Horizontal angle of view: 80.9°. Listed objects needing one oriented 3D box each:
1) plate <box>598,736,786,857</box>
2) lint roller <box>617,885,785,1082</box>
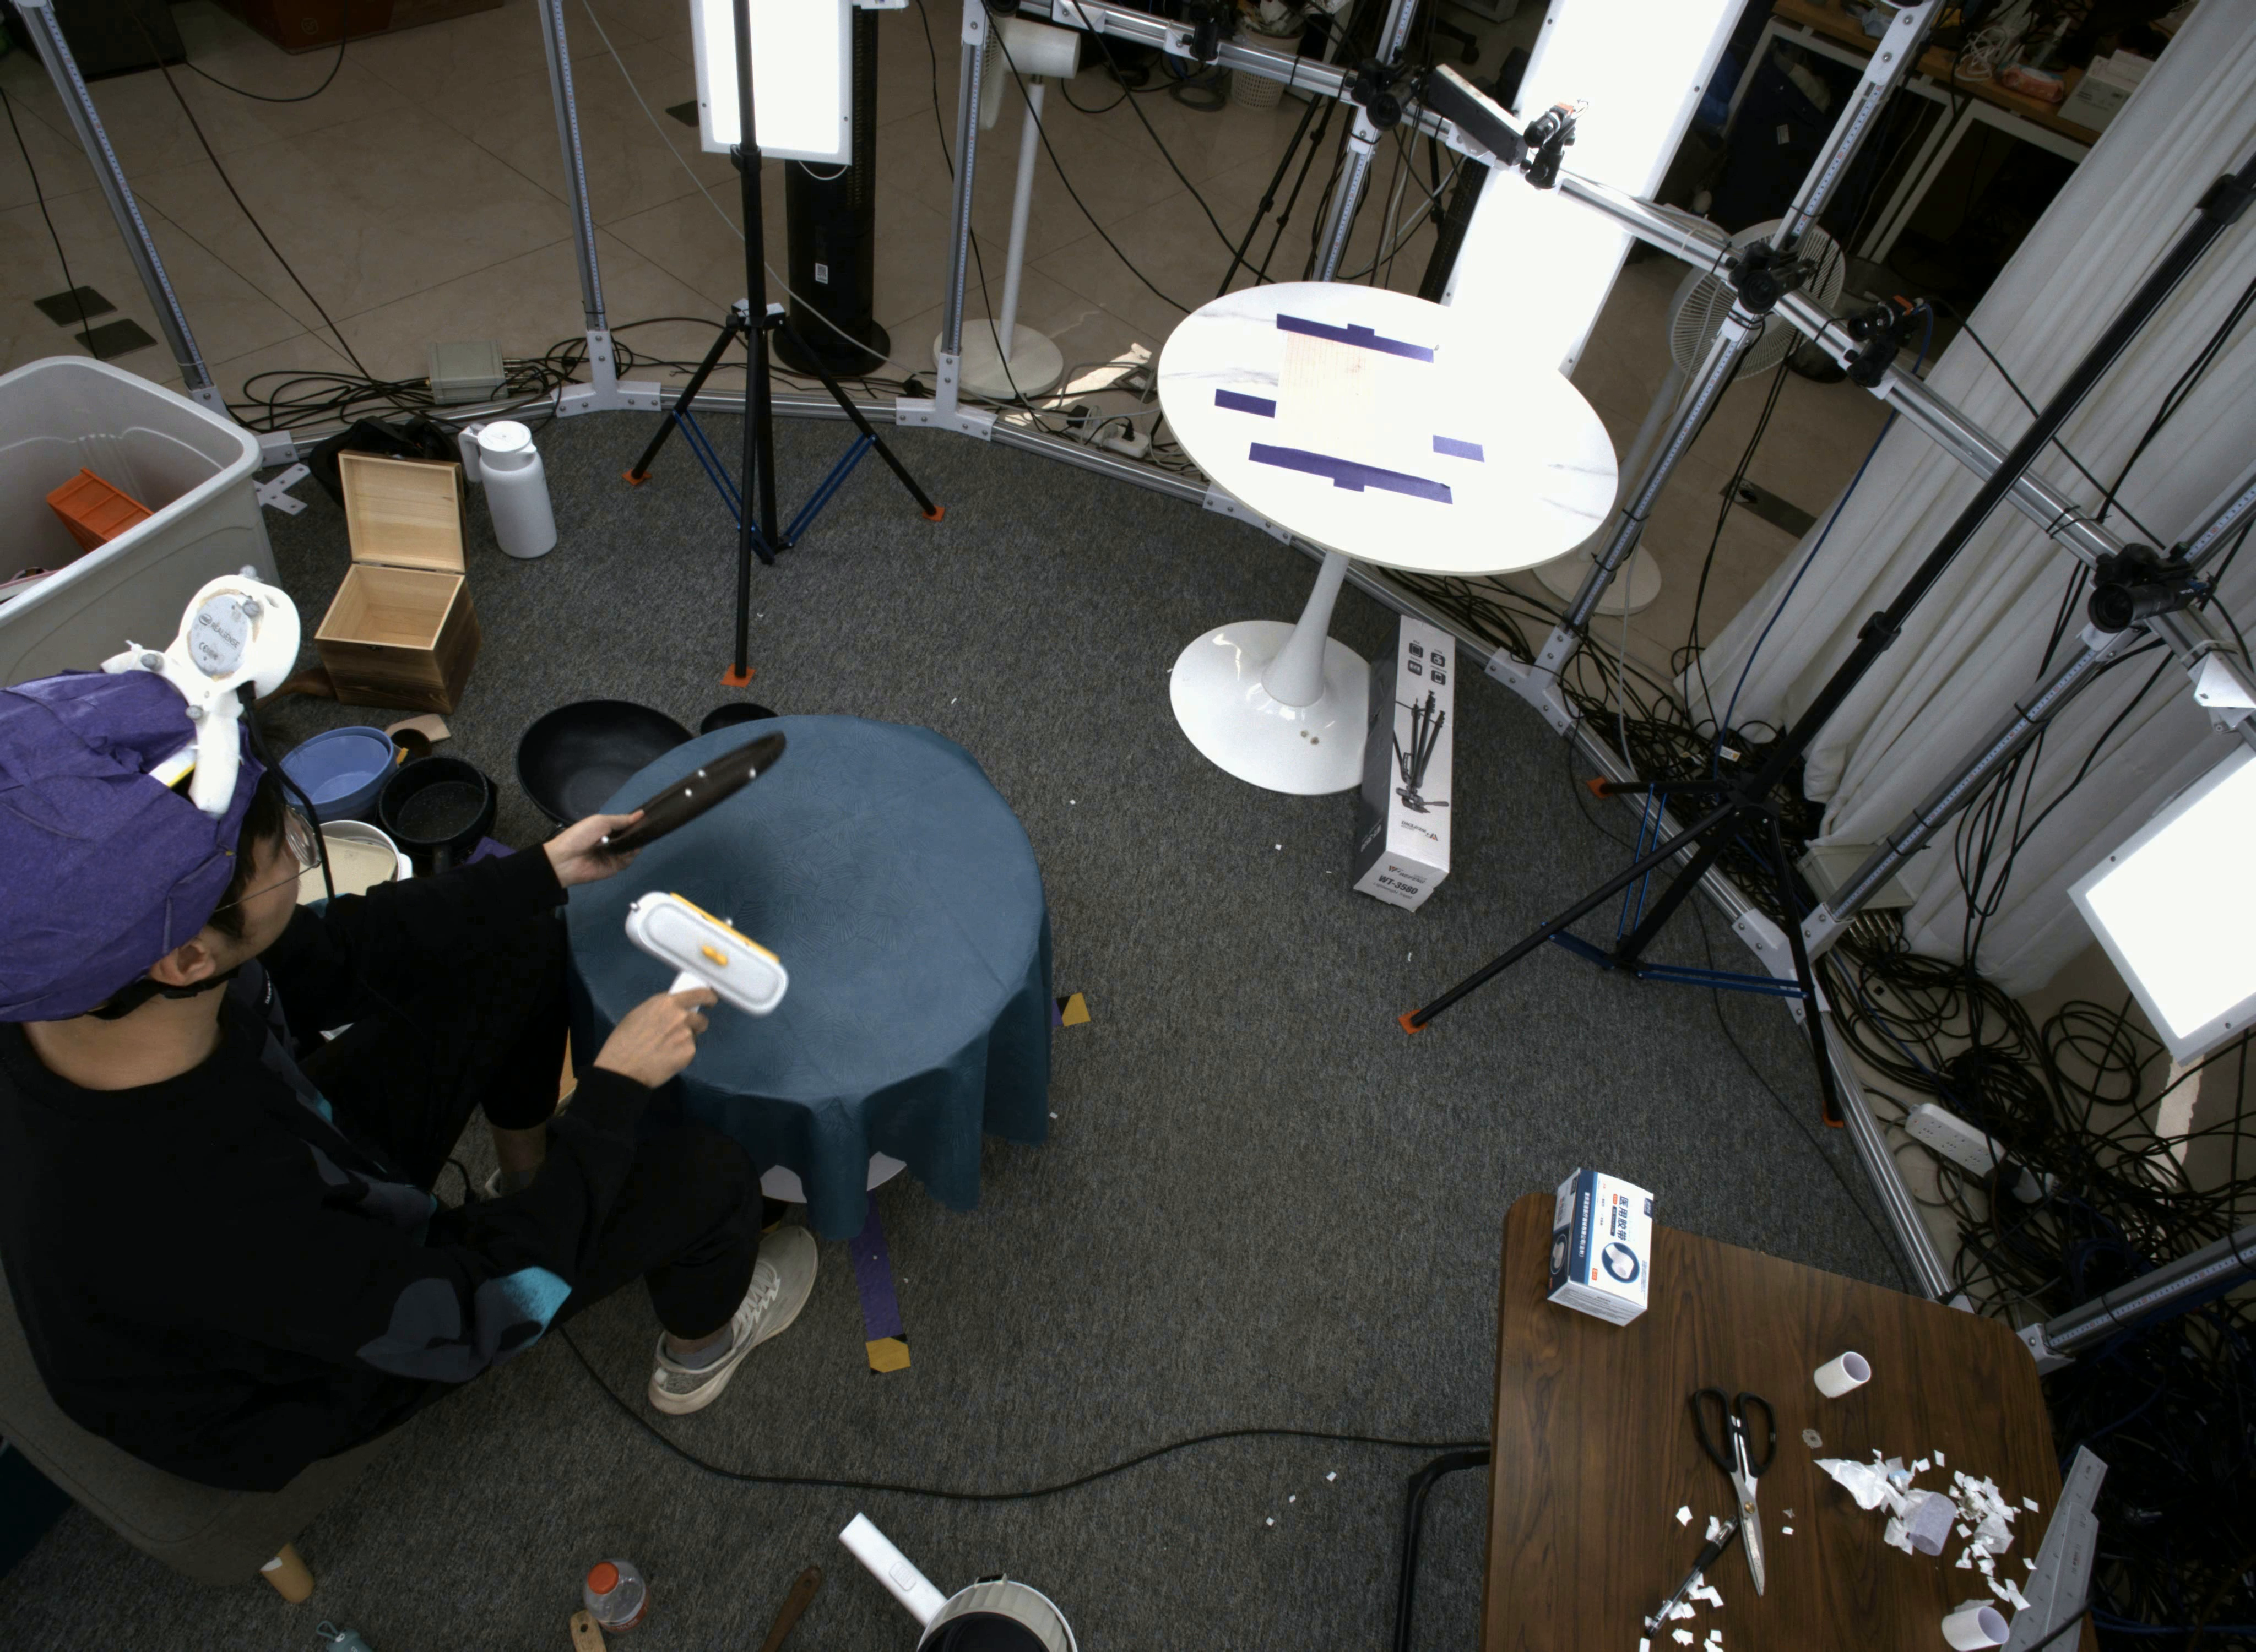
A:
[{"bbox_3d":[-0.513,-0.037,1.520,0.255,0.247,0.030,-41,112,-35],"label":"plate"},{"bbox_3d":[-0.485,0.182,1.399,0.198,0.072,0.192,34,64,-30],"label":"lint roller"}]
